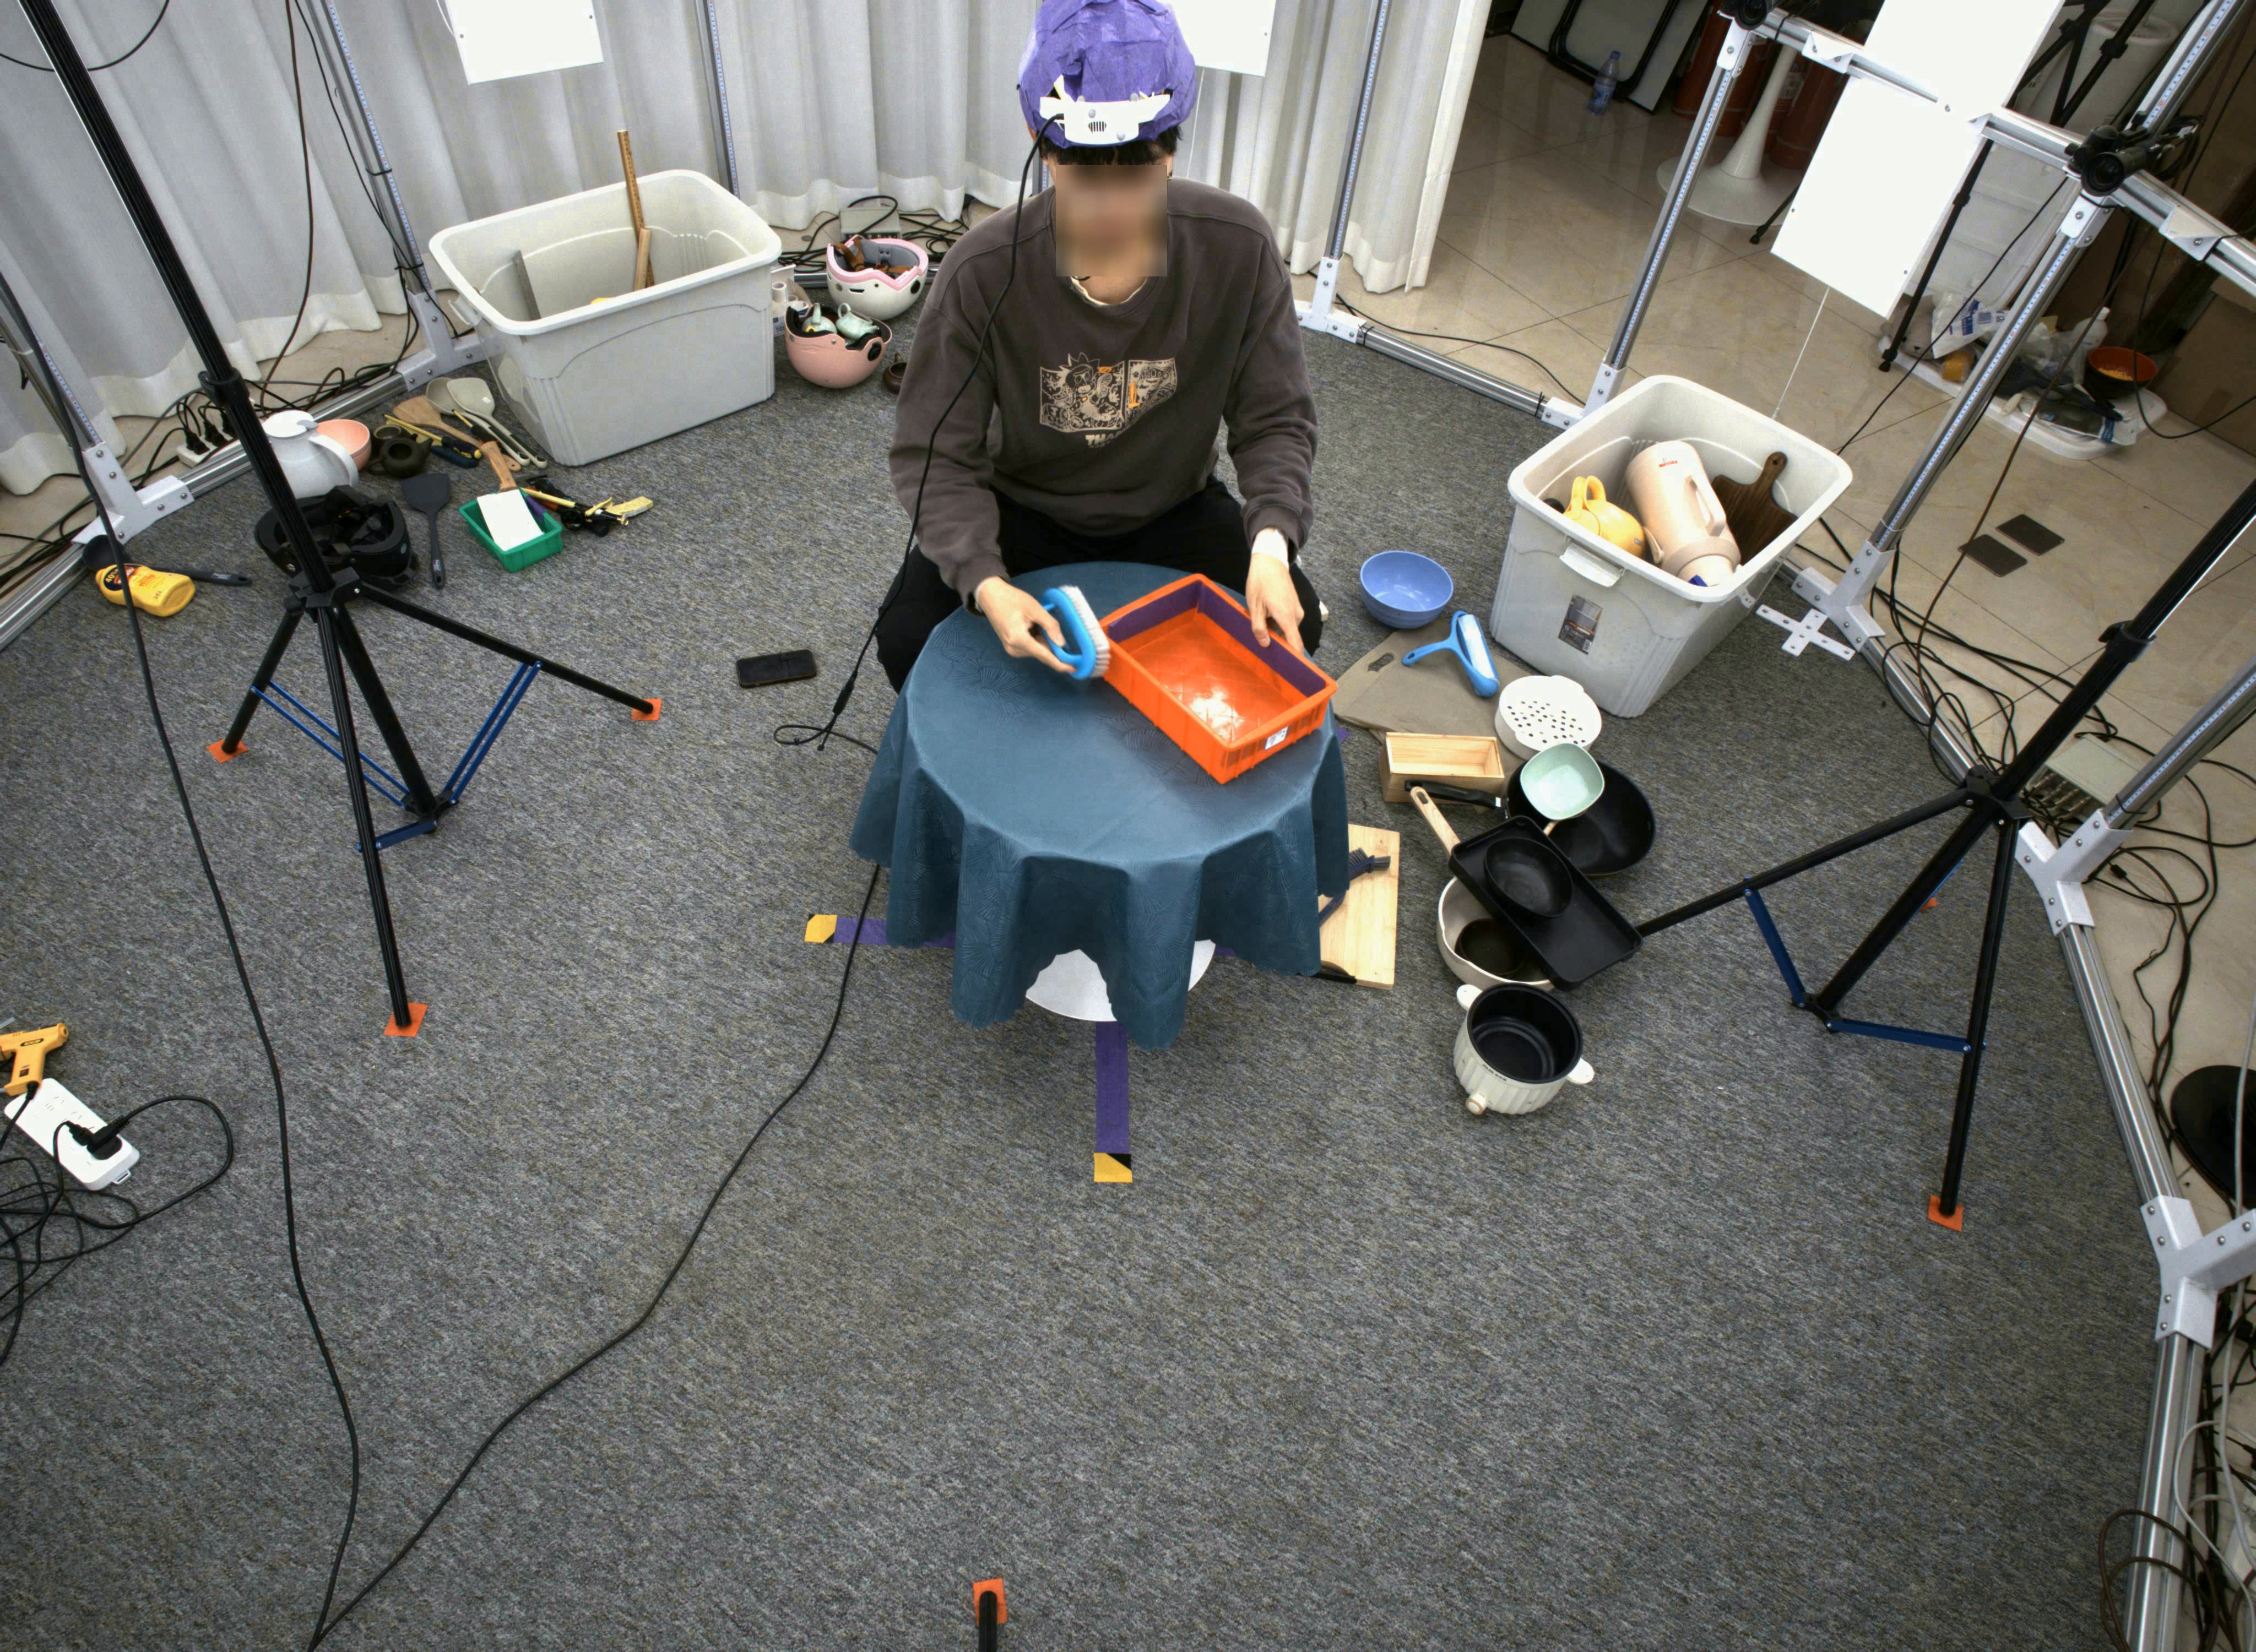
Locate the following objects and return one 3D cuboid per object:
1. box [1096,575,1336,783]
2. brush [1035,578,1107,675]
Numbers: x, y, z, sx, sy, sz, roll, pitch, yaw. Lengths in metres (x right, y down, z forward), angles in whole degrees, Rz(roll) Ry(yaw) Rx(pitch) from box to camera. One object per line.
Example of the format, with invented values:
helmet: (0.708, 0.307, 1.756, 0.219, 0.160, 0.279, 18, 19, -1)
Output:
box: (0.113, -0.207, 1.798, 0.208, 0.094, 0.309, -29, 57, -26)
brush: (-0.089, -0.273, 1.786, 0.064, 0.083, 0.143, -18, 76, -33)
